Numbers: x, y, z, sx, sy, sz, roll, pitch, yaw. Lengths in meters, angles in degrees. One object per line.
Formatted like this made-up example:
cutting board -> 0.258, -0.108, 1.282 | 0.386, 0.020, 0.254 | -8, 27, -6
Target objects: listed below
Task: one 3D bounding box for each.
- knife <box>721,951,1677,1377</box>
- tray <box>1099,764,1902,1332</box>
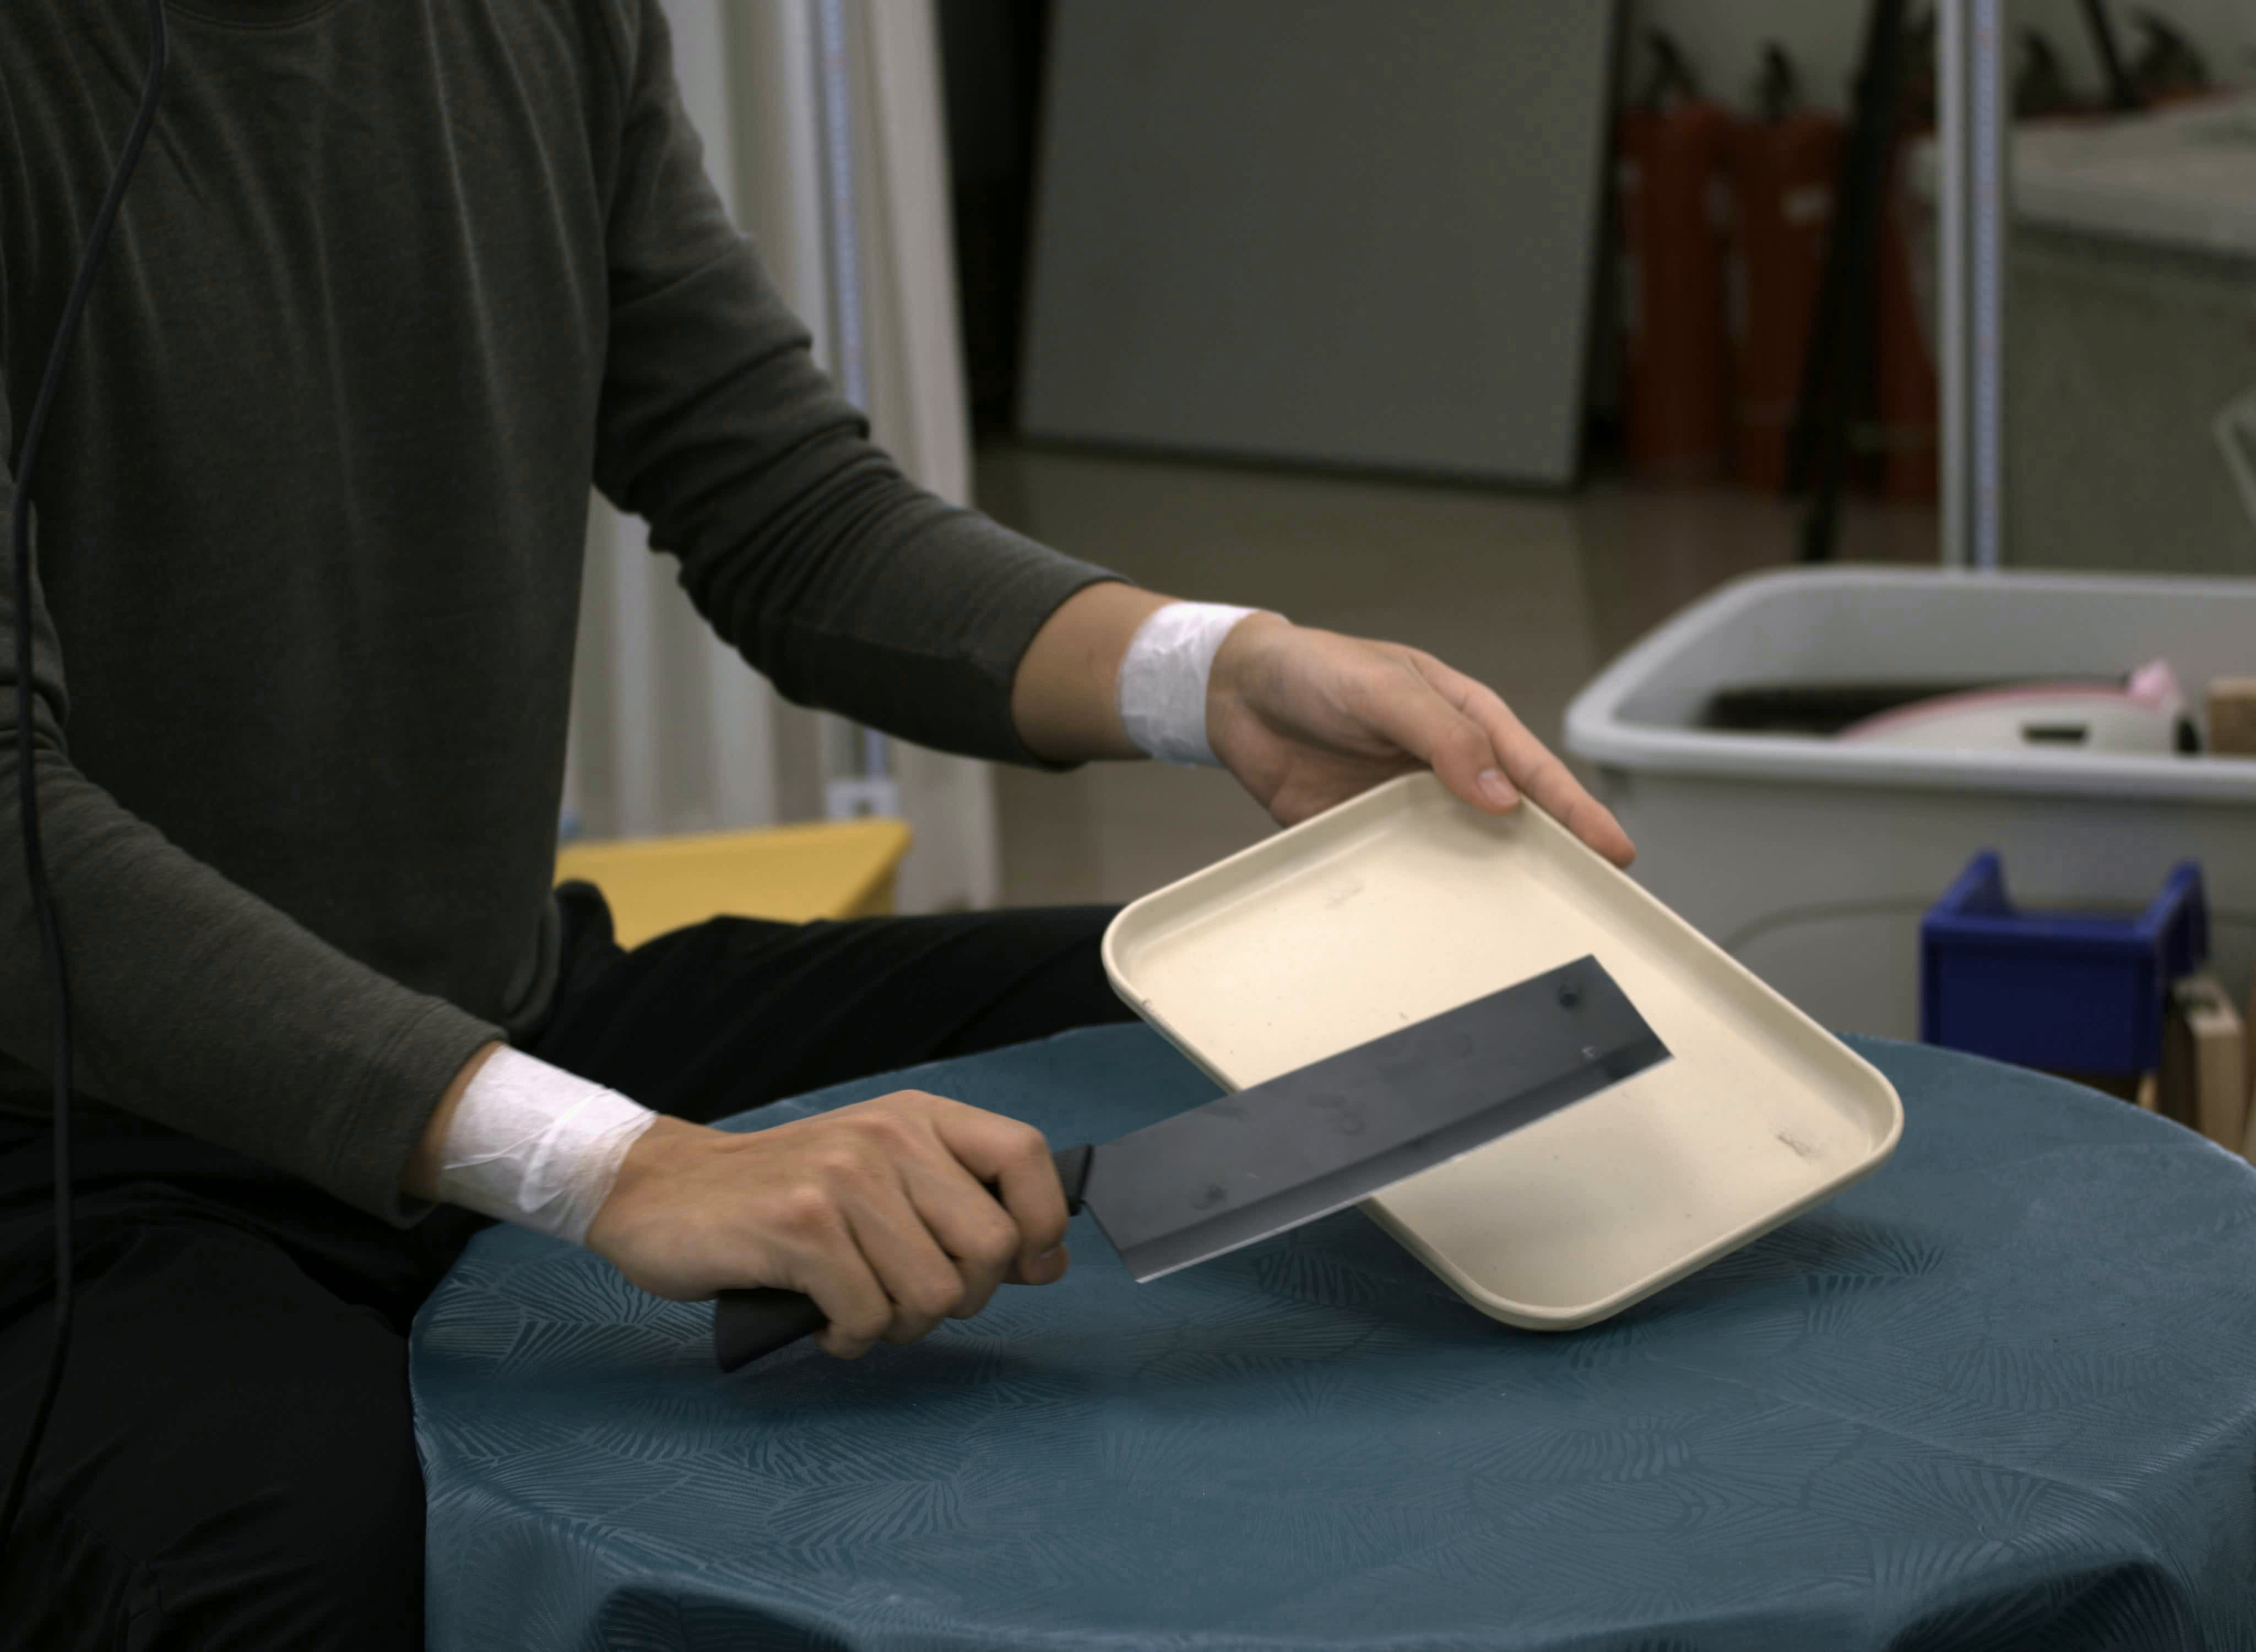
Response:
knife -> 0.020, 0.104, 1.610 | 0.298, 0.021, 0.082 | -19, 35, -6
tray -> 0.116, 0.068, 1.707 | 0.168, 0.017, 0.242 | -25, 44, -27
